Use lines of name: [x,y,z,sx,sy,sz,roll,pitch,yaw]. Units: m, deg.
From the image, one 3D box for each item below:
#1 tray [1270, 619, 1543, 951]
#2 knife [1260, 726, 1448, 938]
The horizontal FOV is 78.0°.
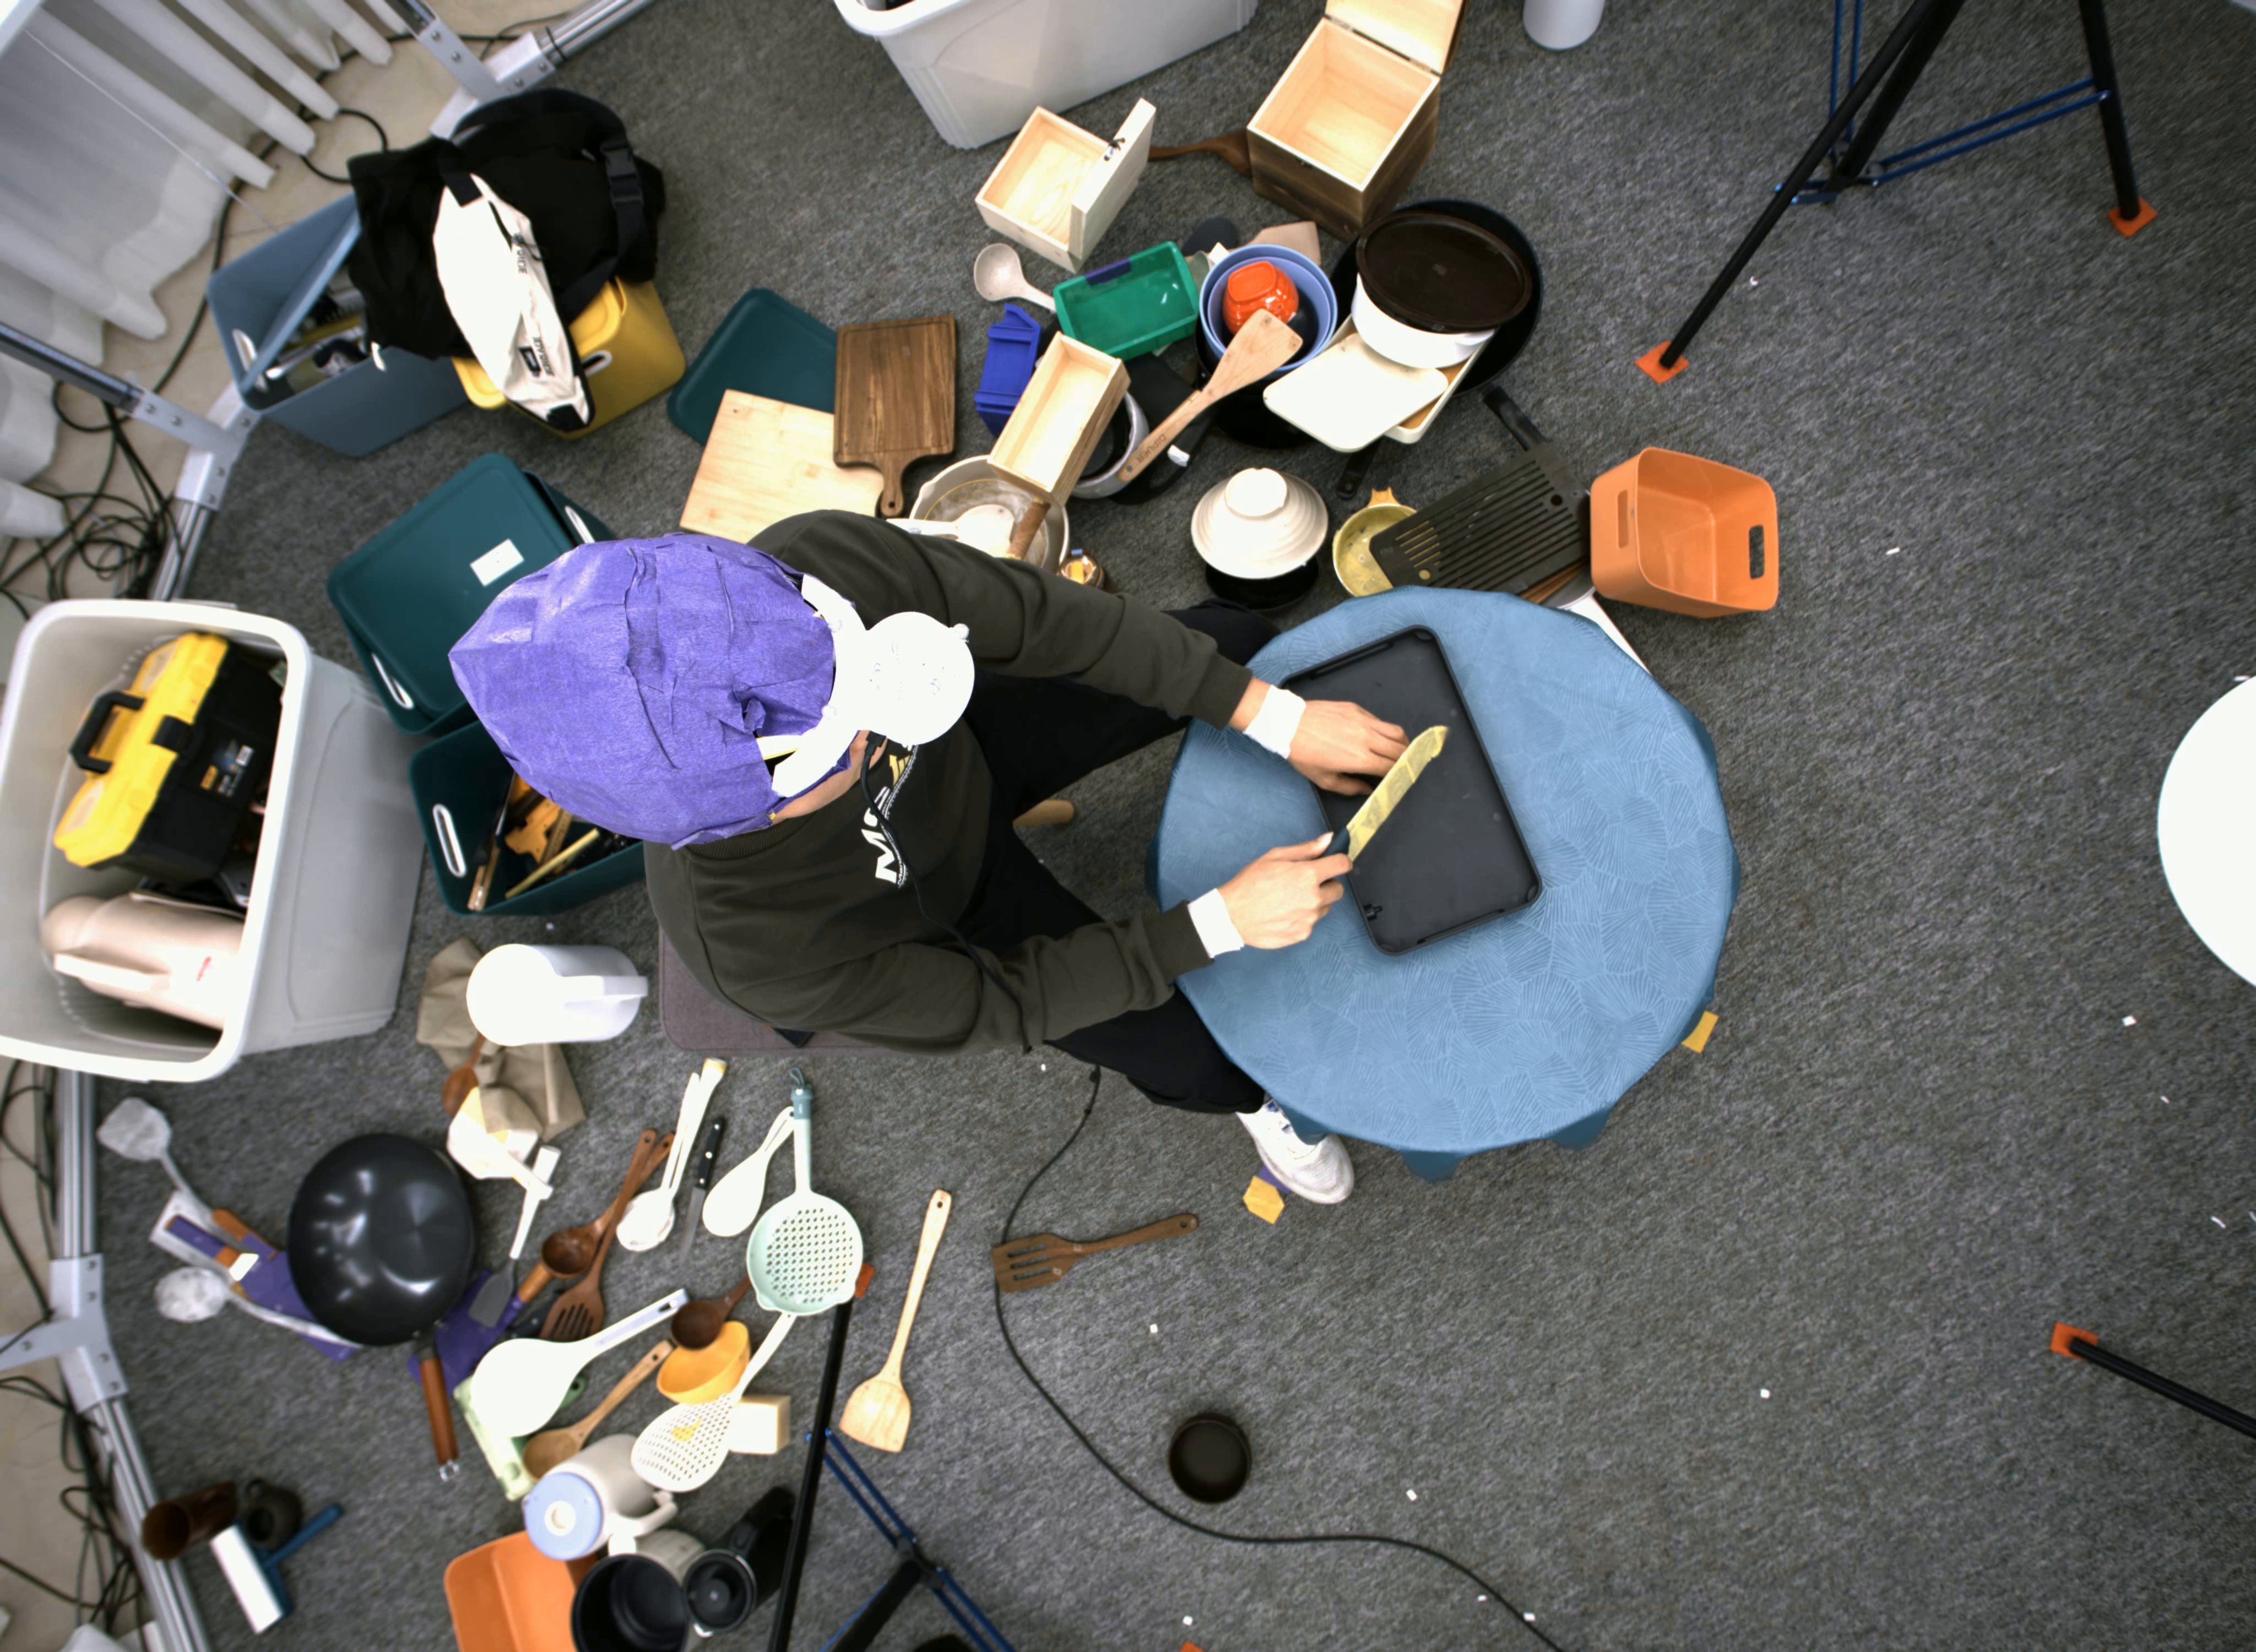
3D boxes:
tray: [0.289,-0.044,1.444,0.185,0.037,0.316,-24,83,8]
knife: [0.236,0.004,1.412,0.027,0.082,0.289,40,87,30]
